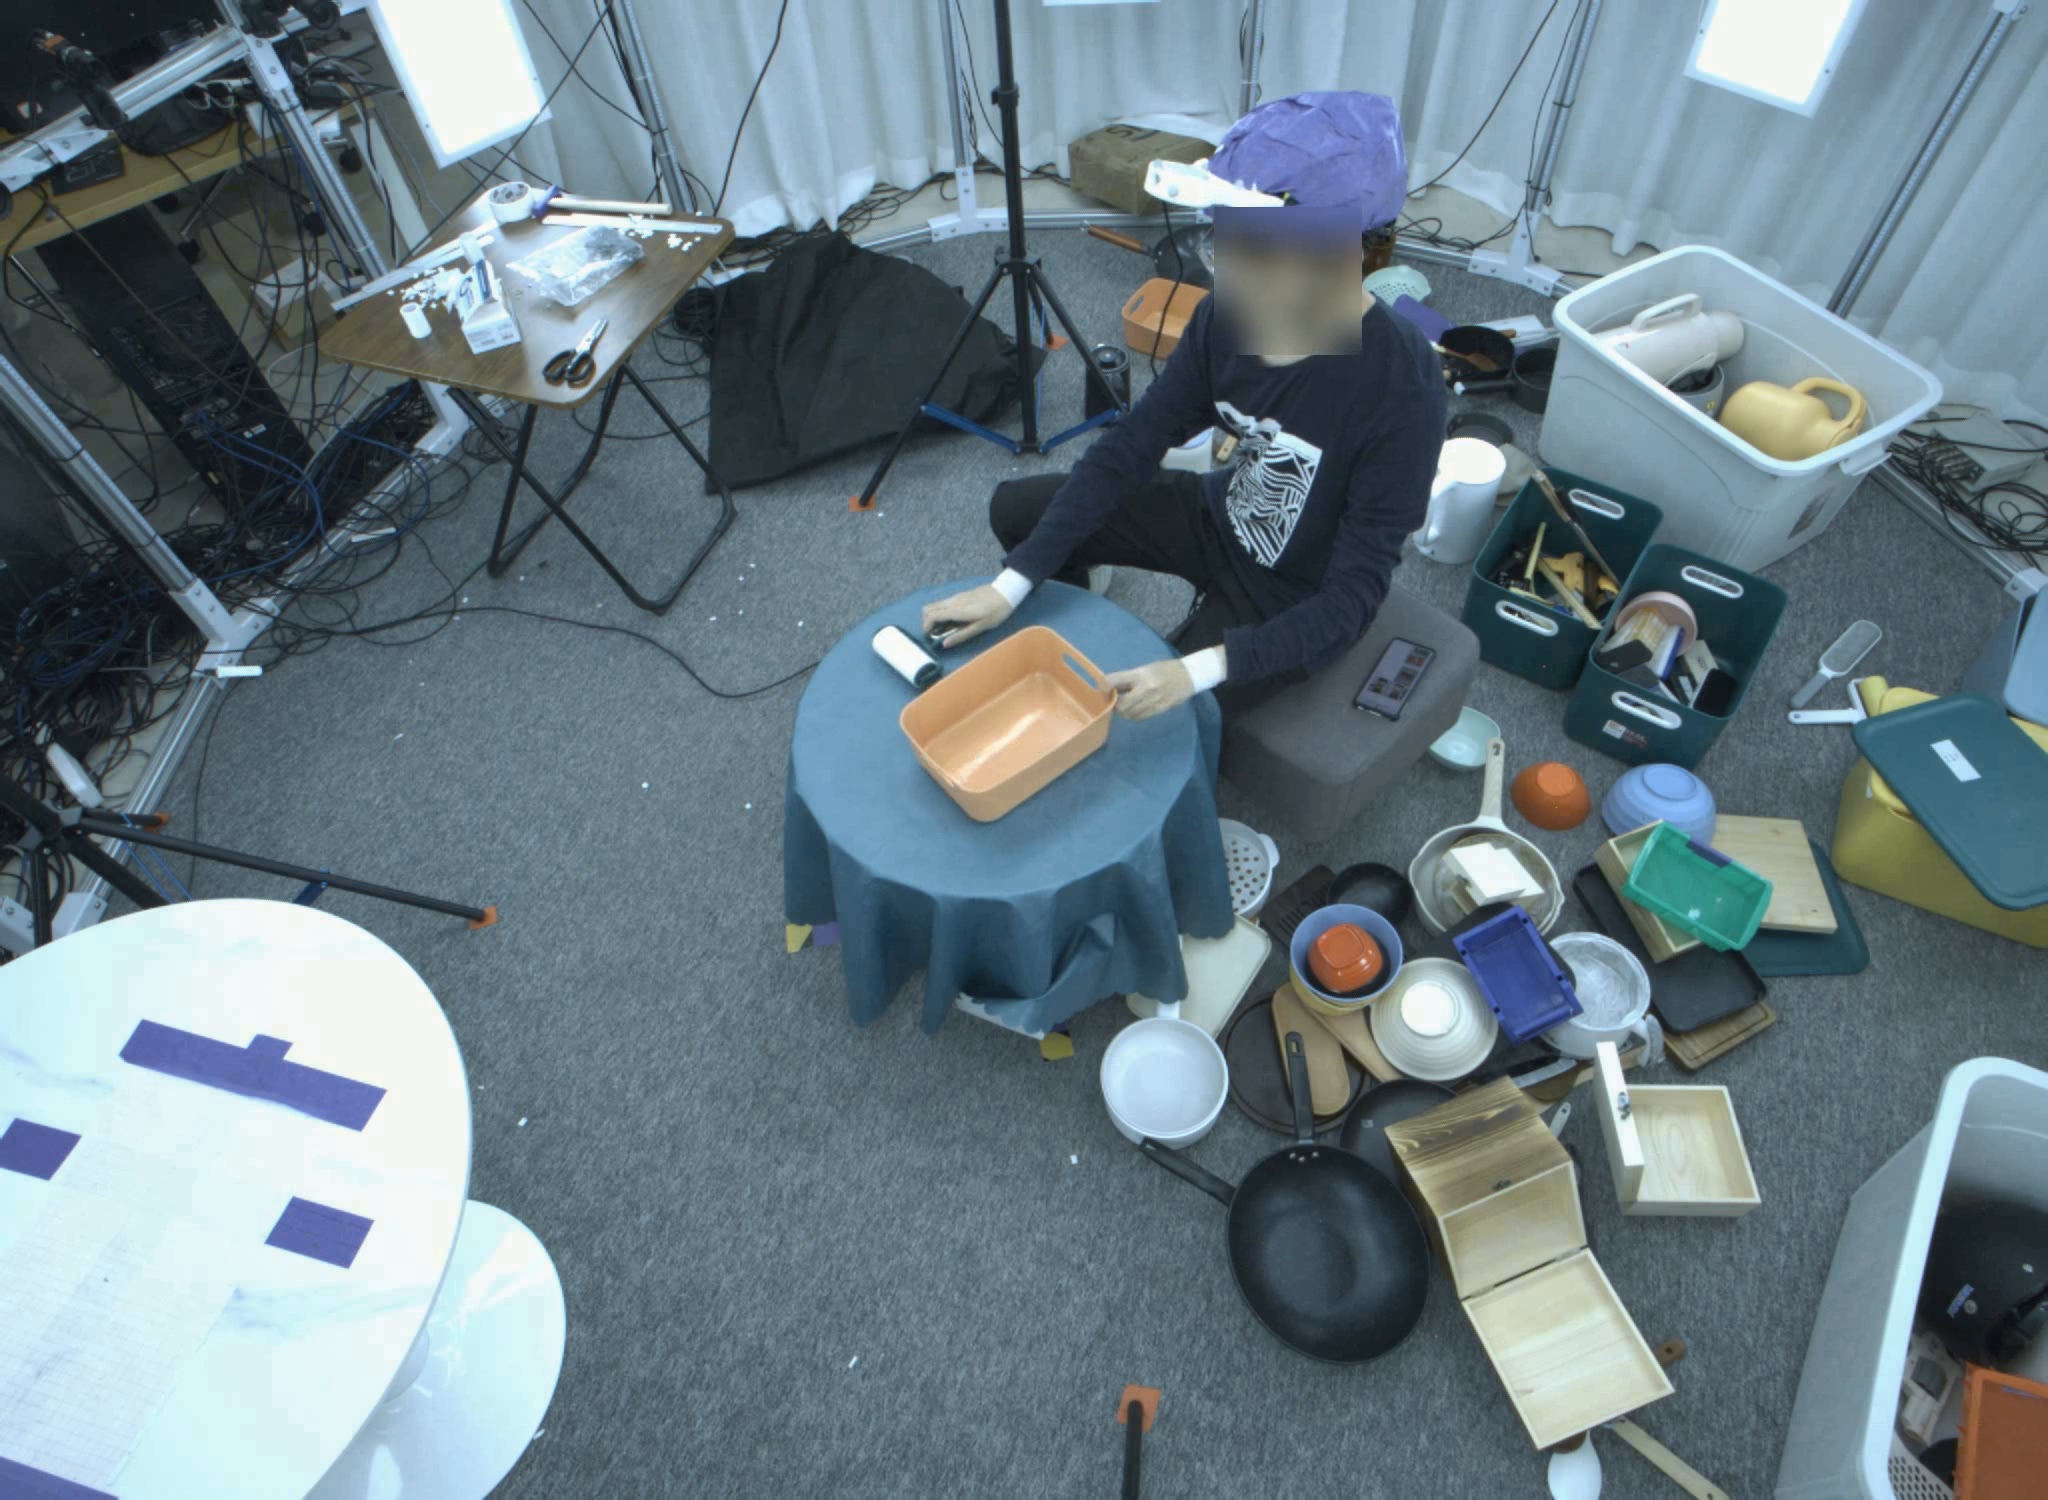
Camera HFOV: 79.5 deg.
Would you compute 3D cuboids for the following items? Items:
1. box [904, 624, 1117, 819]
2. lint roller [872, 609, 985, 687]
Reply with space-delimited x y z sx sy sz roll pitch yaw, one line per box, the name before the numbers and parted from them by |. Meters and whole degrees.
box | -0.018 -0.038 1.751 0.275 0.103 0.196 -35 63 -20
lint roller | -0.133 -0.179 1.892 0.181 0.049 0.132 -38 61 -22
